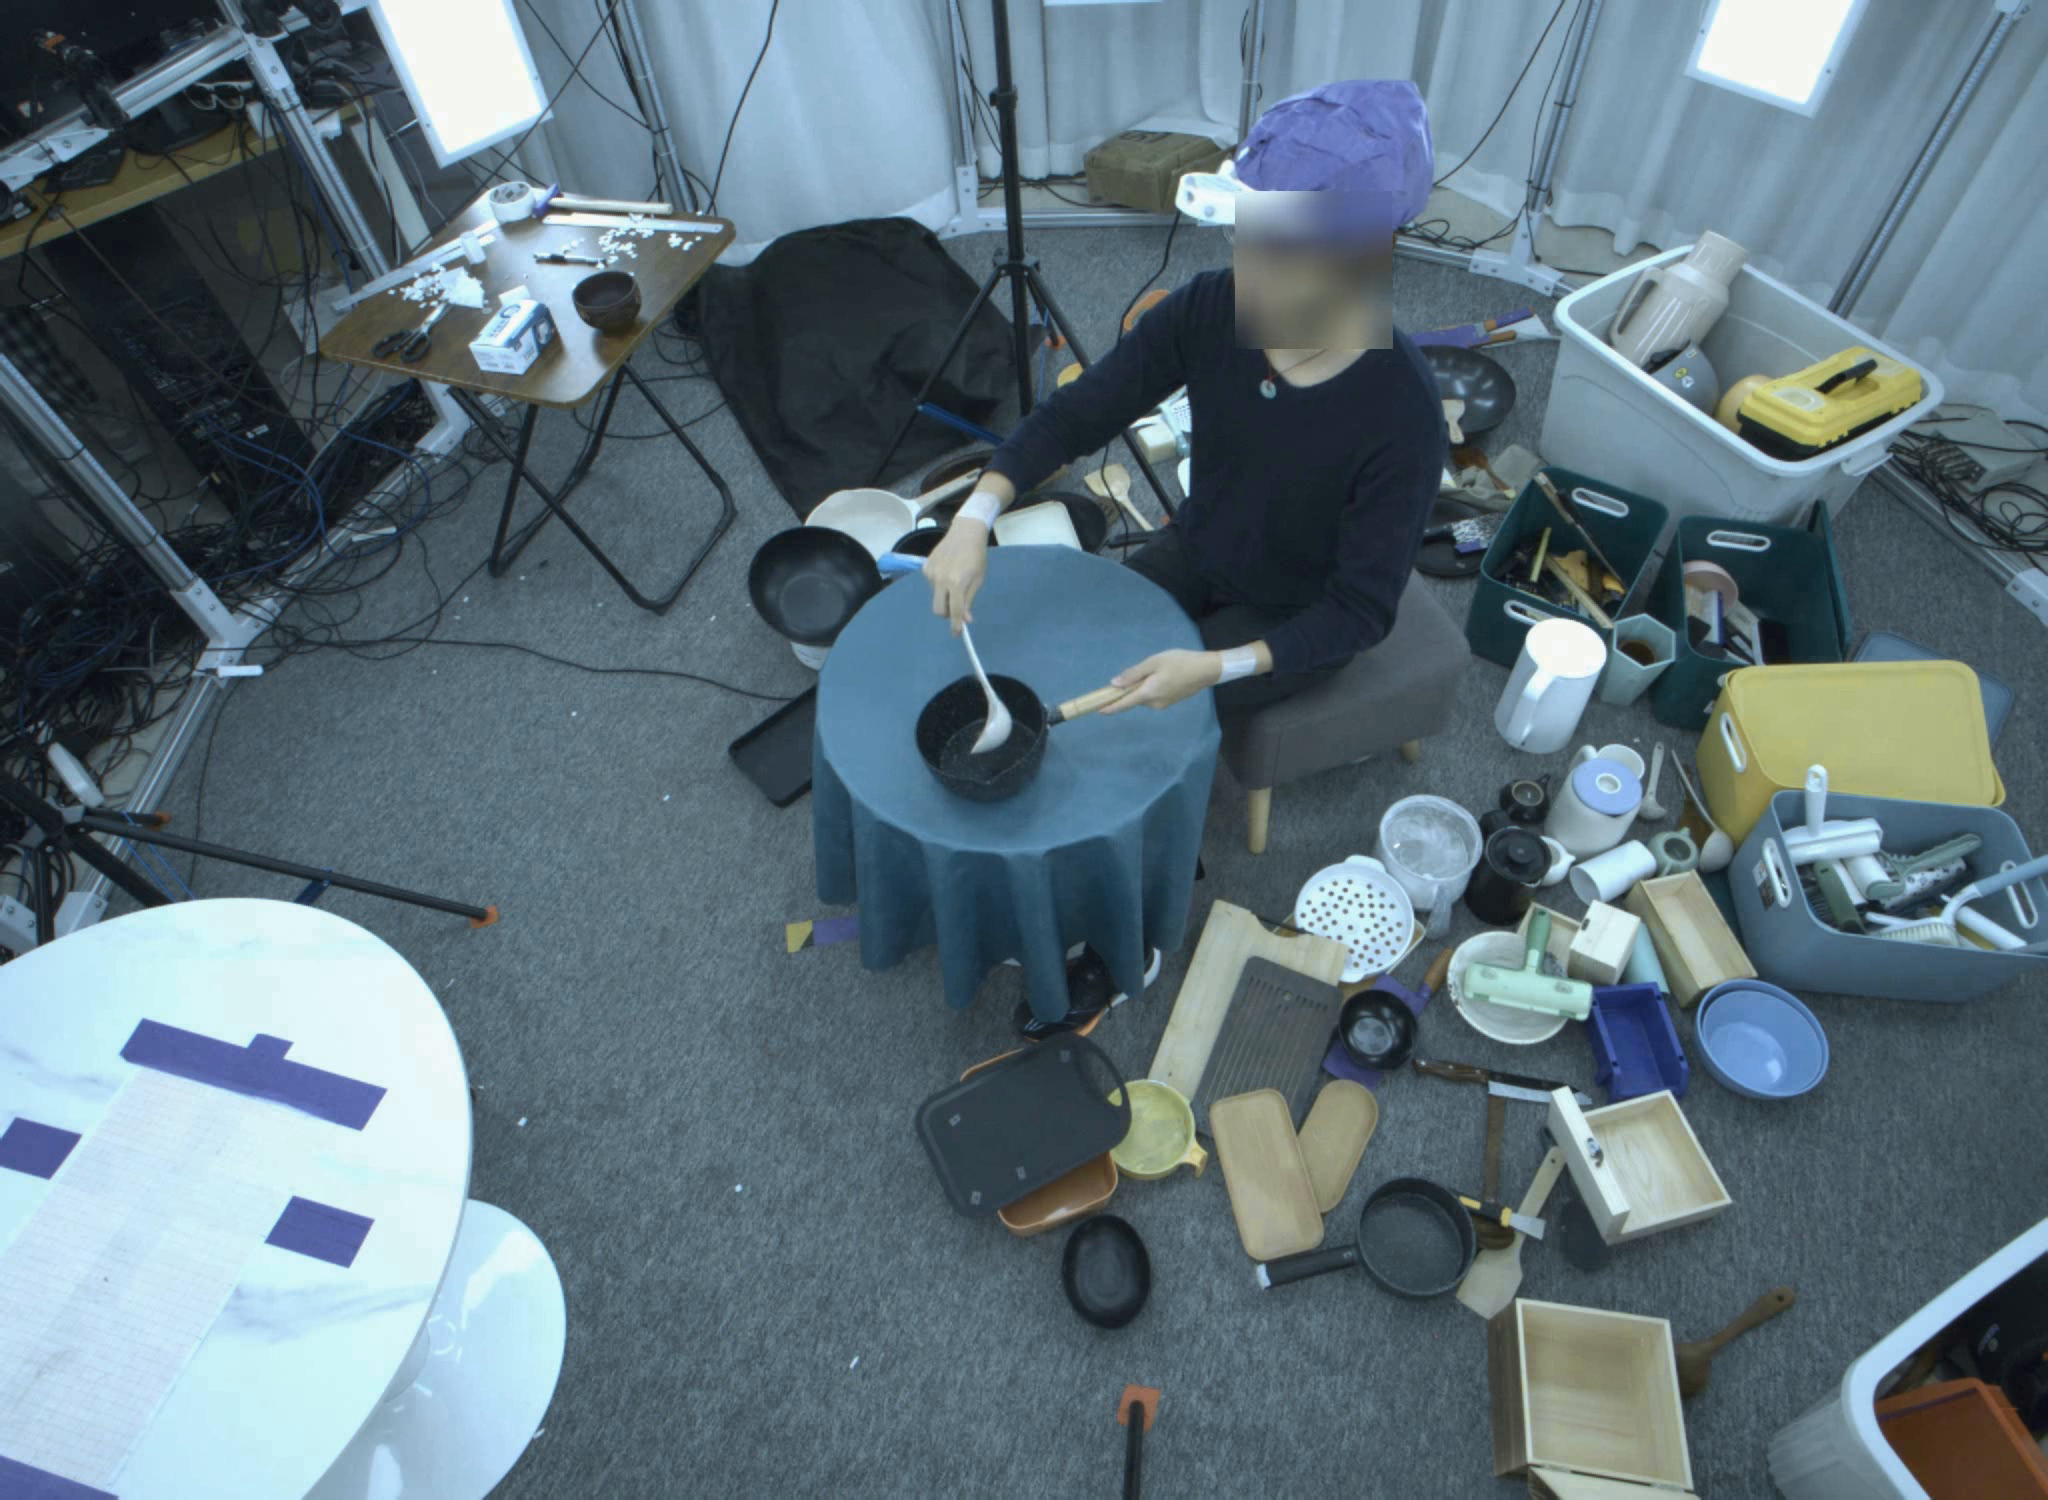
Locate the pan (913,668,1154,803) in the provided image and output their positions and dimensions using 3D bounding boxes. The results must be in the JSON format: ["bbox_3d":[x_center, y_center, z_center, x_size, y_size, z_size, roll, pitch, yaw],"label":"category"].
[{"bbox_3d":[0.019,-0.036,1.727,0.342,0.110,0.204,-14,53,2],"label":"pan"}]

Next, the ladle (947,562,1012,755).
[{"bbox_3d":[-0.088,-0.128,1.706,0.070,0.089,0.274,-20,84,-12],"label":"ladle"}]
